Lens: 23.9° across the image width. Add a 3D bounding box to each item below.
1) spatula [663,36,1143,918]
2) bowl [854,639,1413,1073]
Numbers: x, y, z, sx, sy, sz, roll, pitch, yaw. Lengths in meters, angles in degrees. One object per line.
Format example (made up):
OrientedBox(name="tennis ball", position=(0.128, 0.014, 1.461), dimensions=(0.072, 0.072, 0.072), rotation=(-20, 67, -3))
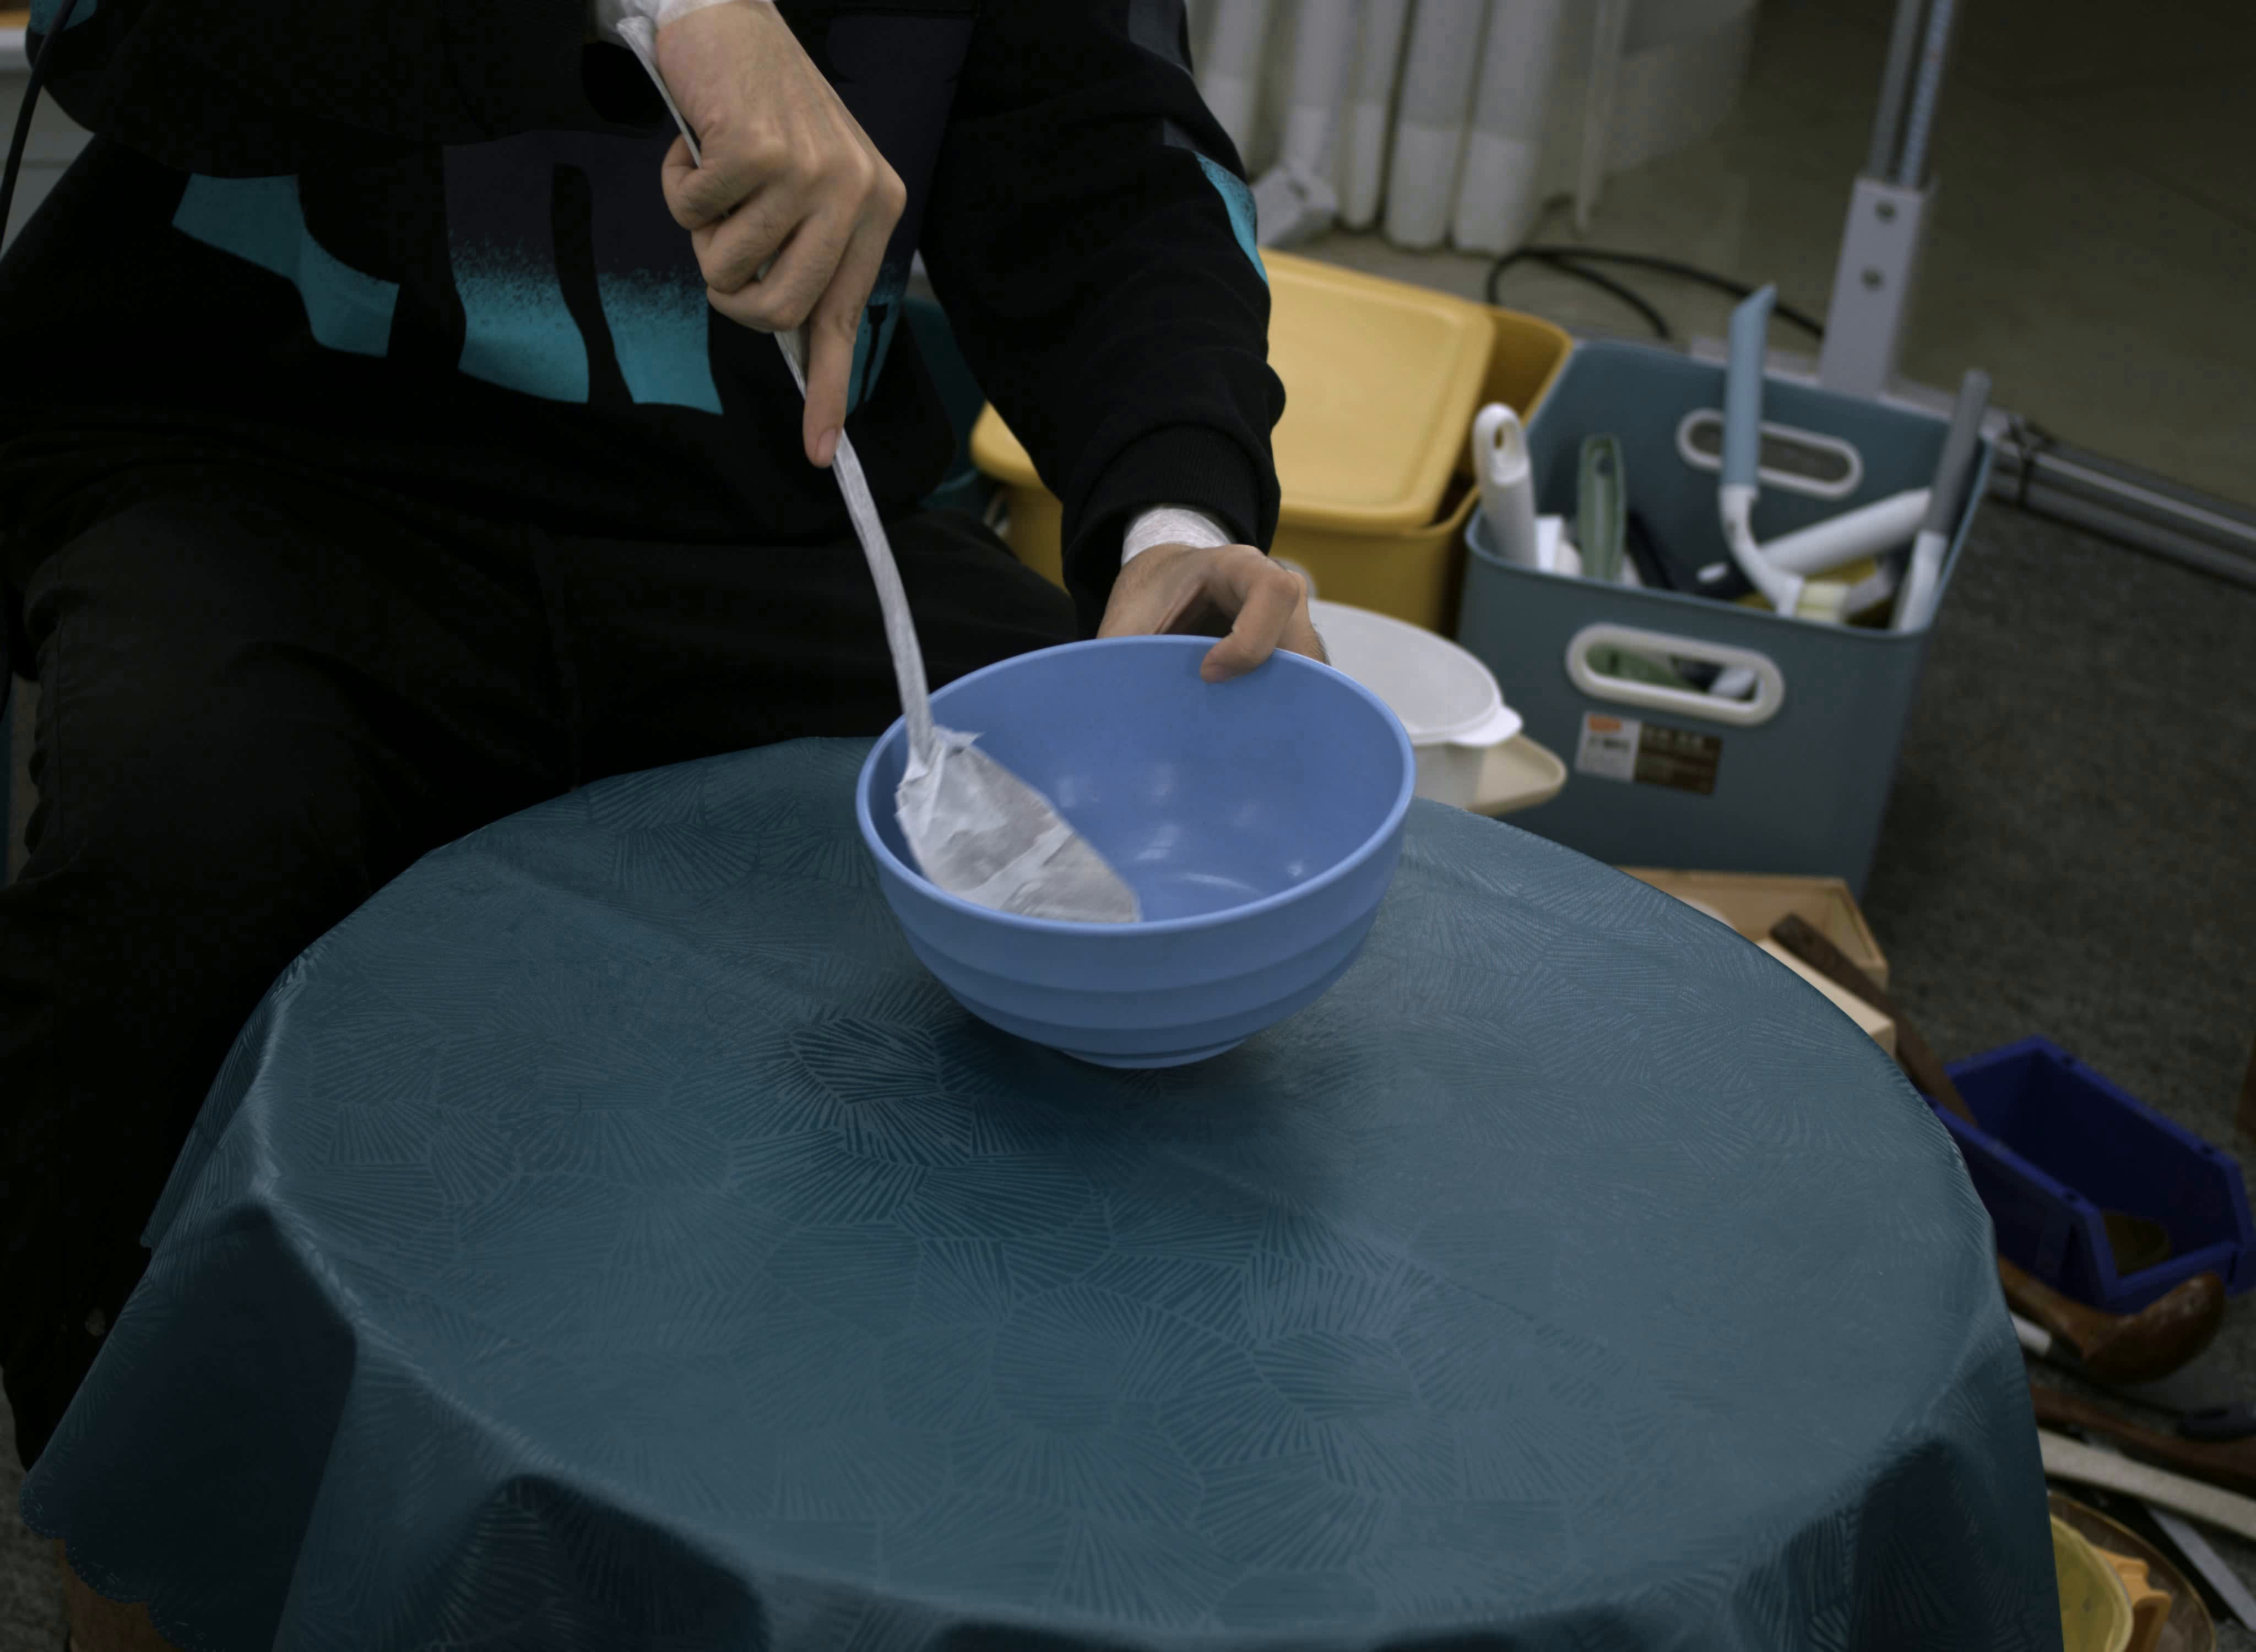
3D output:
OrientedBox(name="spatula", position=(-0.087, -0.107, 1.857), dimensions=(0.045, 0.365, 0.098), rotation=(-15, 8, 32))
OrientedBox(name="bowl", position=(0.006, 0.023, 1.879), dimensions=(0.196, 0.095, 0.198), rotation=(-5, 31, 3))
